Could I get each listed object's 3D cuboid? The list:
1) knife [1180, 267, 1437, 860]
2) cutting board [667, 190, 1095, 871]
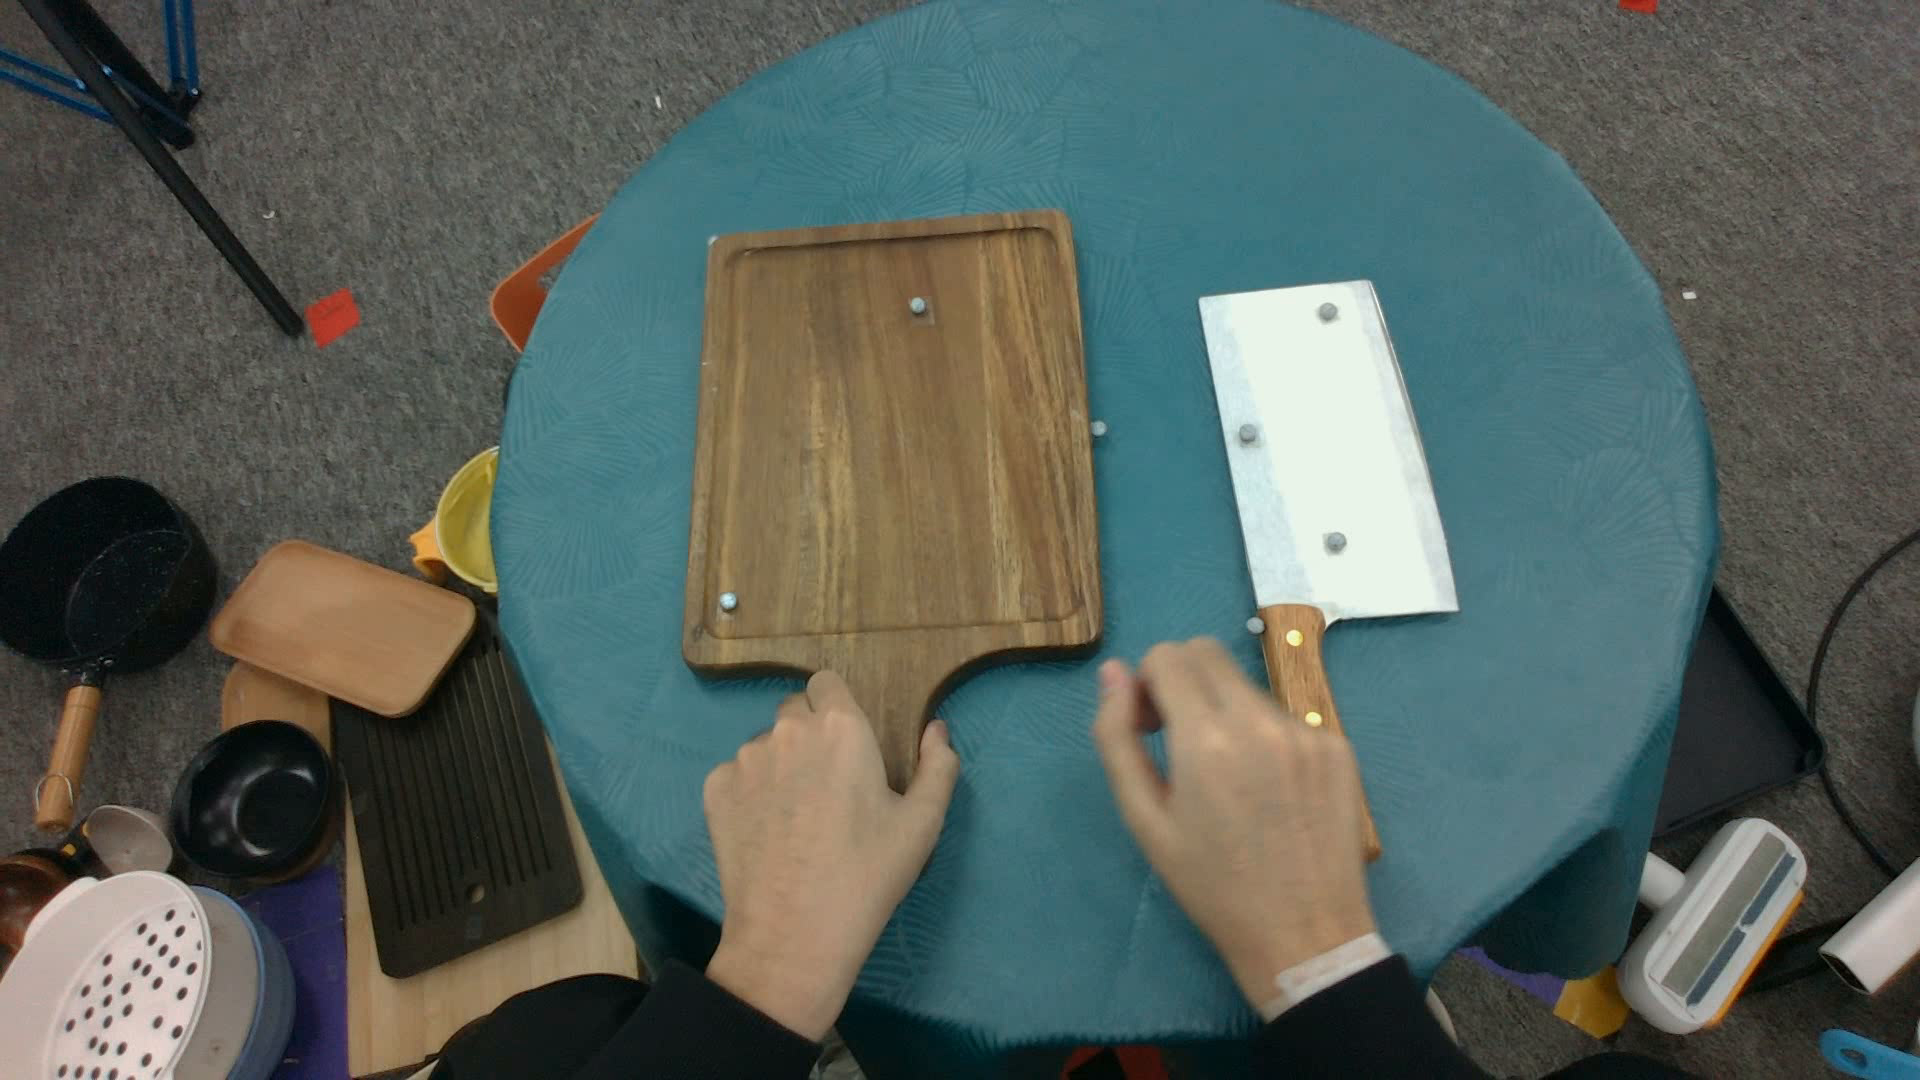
[{"bbox_3d":[0.170,-0.005,0.644,0.093,0.021,0.307,-5,62,0],"label":"knife"},{"bbox_3d":[-0.041,-0.019,0.663,0.201,0.023,0.353,-4,64,2],"label":"cutting board"}]
